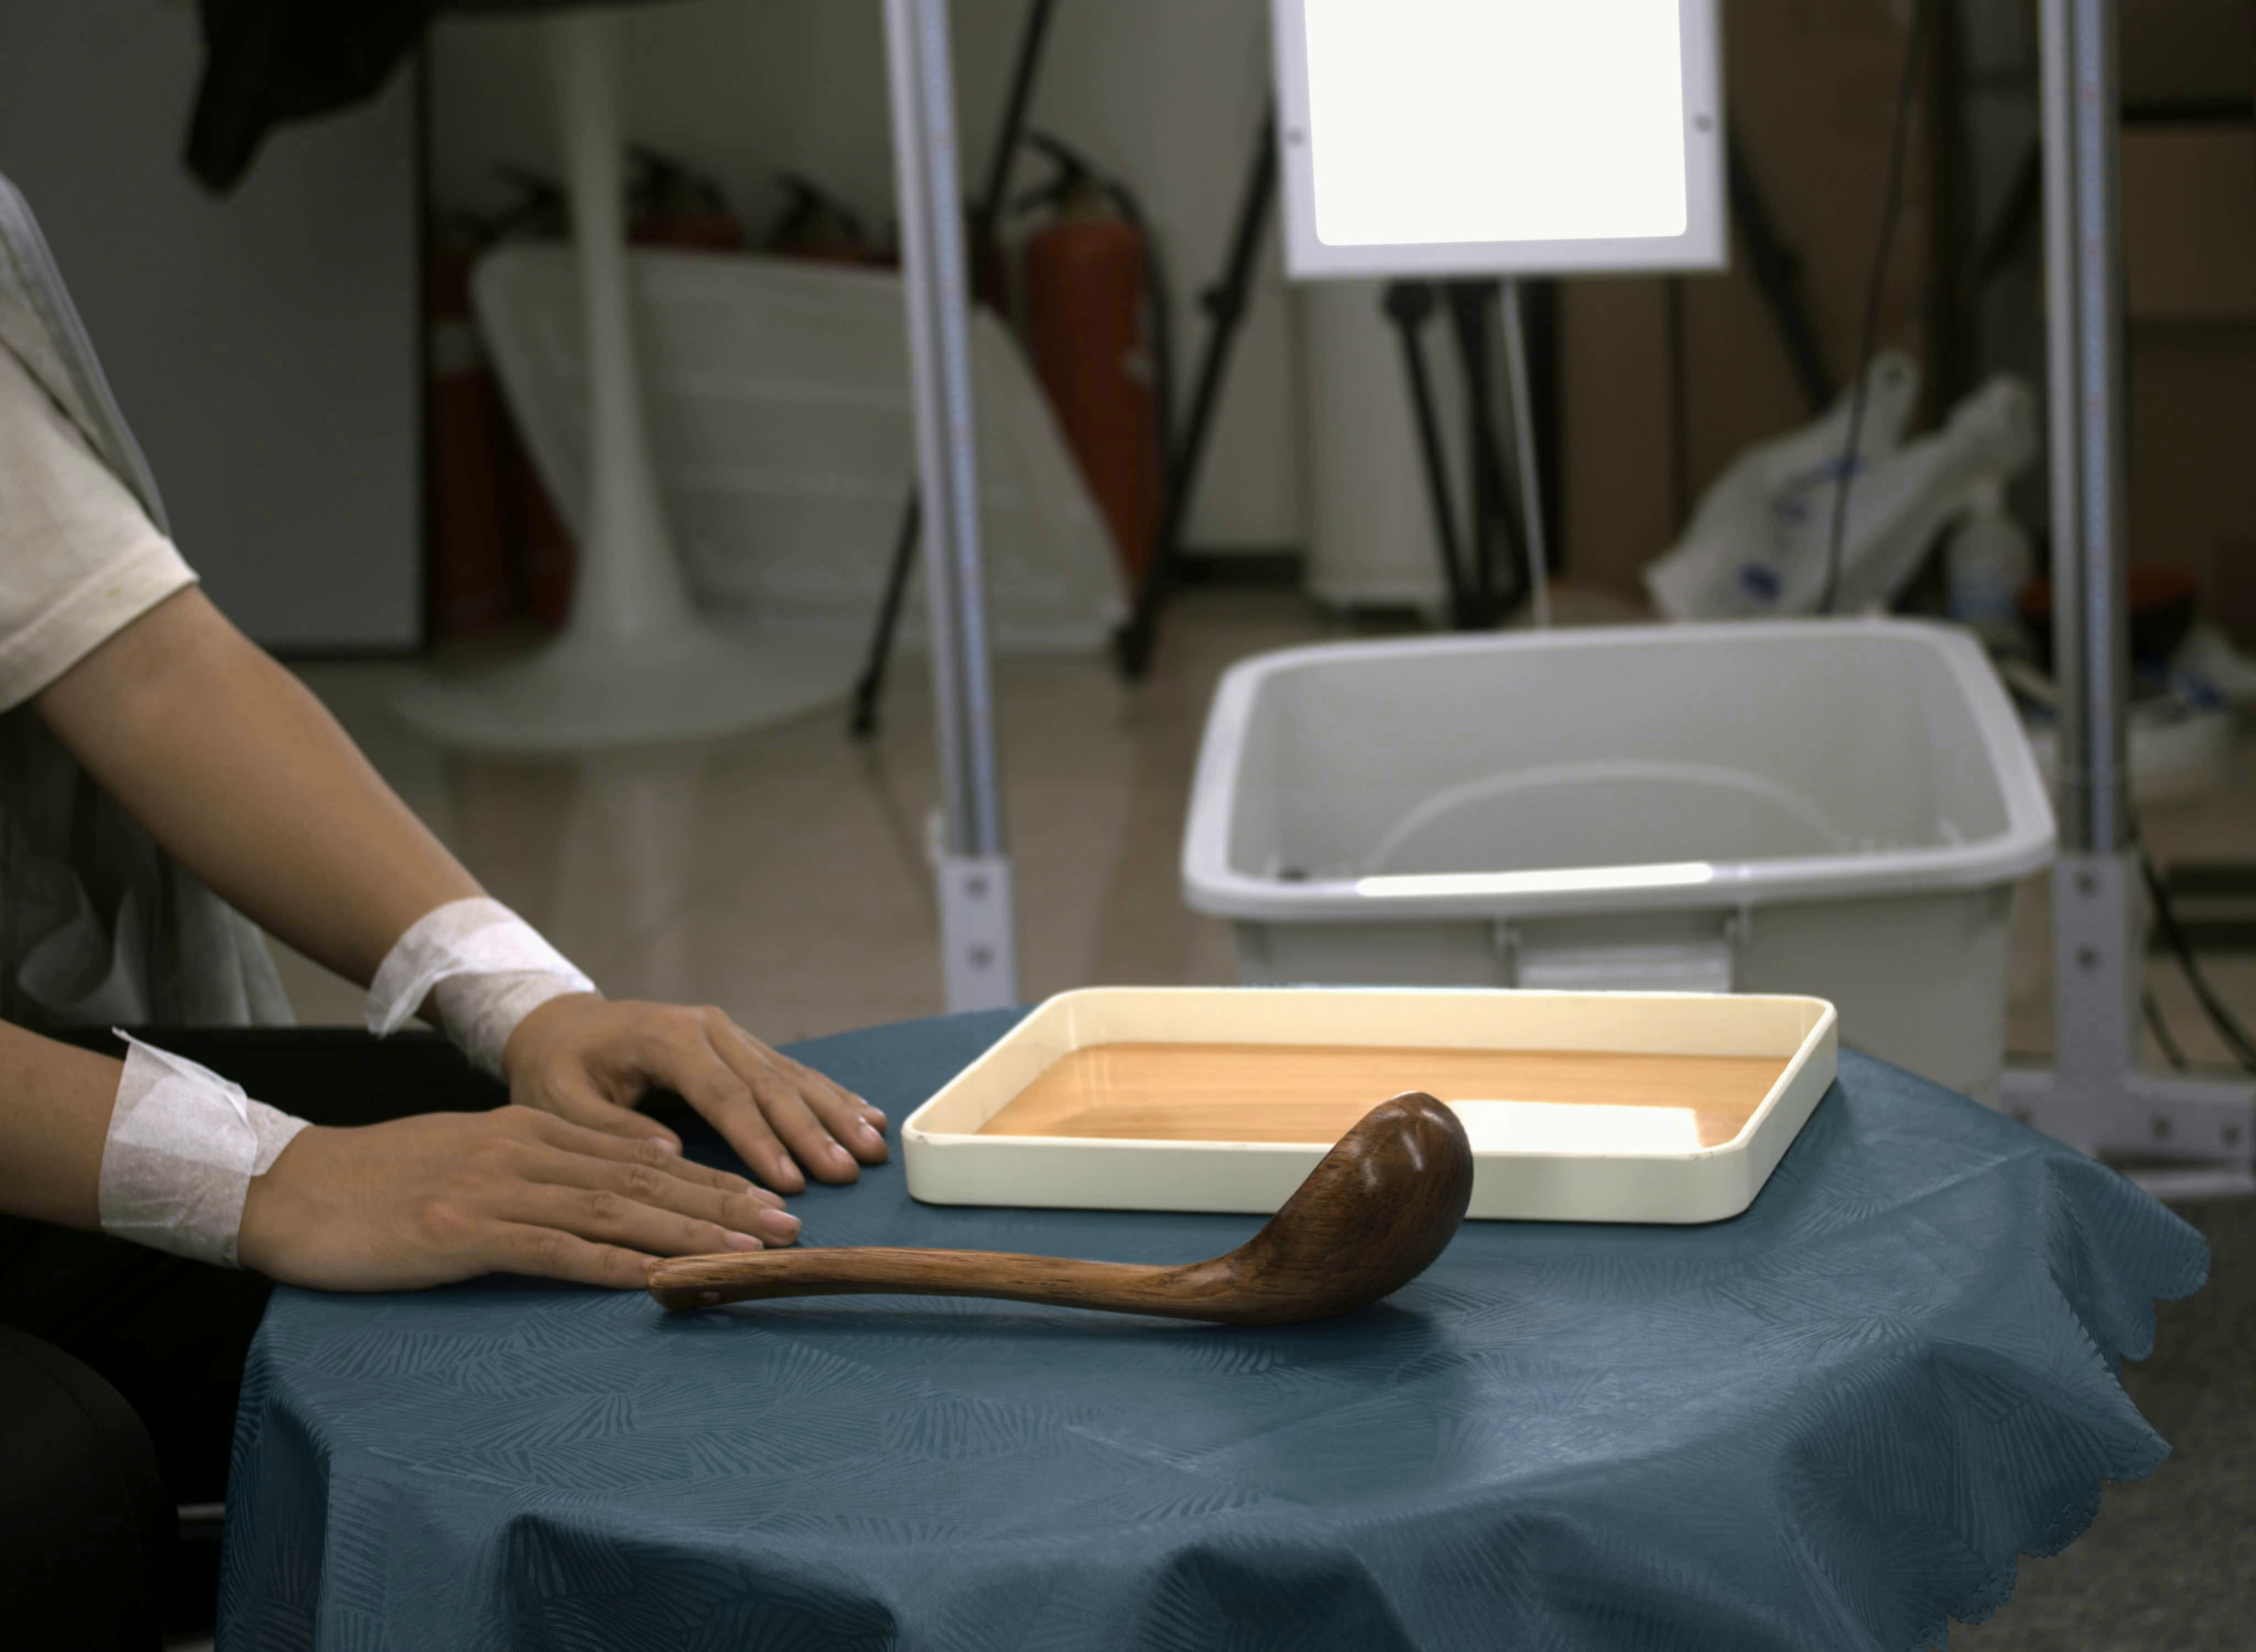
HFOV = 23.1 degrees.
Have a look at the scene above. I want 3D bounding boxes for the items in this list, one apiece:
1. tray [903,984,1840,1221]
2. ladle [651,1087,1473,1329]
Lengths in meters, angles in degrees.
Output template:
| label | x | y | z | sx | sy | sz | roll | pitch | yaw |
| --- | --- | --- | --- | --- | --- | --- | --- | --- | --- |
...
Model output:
| label | x | y | z | sx | sy | sz | roll | pitch | yaw |
| --- | --- | --- | --- | --- | --- | --- | --- | --- | --- |
| tray | 0.089 | 0.095 | 1.933 | 0.304 | 0.027 | 0.188 | 0 | 15 | 21 |
| ladle | -0.023 | 0.122 | 1.777 | 0.278 | 0.076 | 0.081 | -1 | -25 | 21 |
